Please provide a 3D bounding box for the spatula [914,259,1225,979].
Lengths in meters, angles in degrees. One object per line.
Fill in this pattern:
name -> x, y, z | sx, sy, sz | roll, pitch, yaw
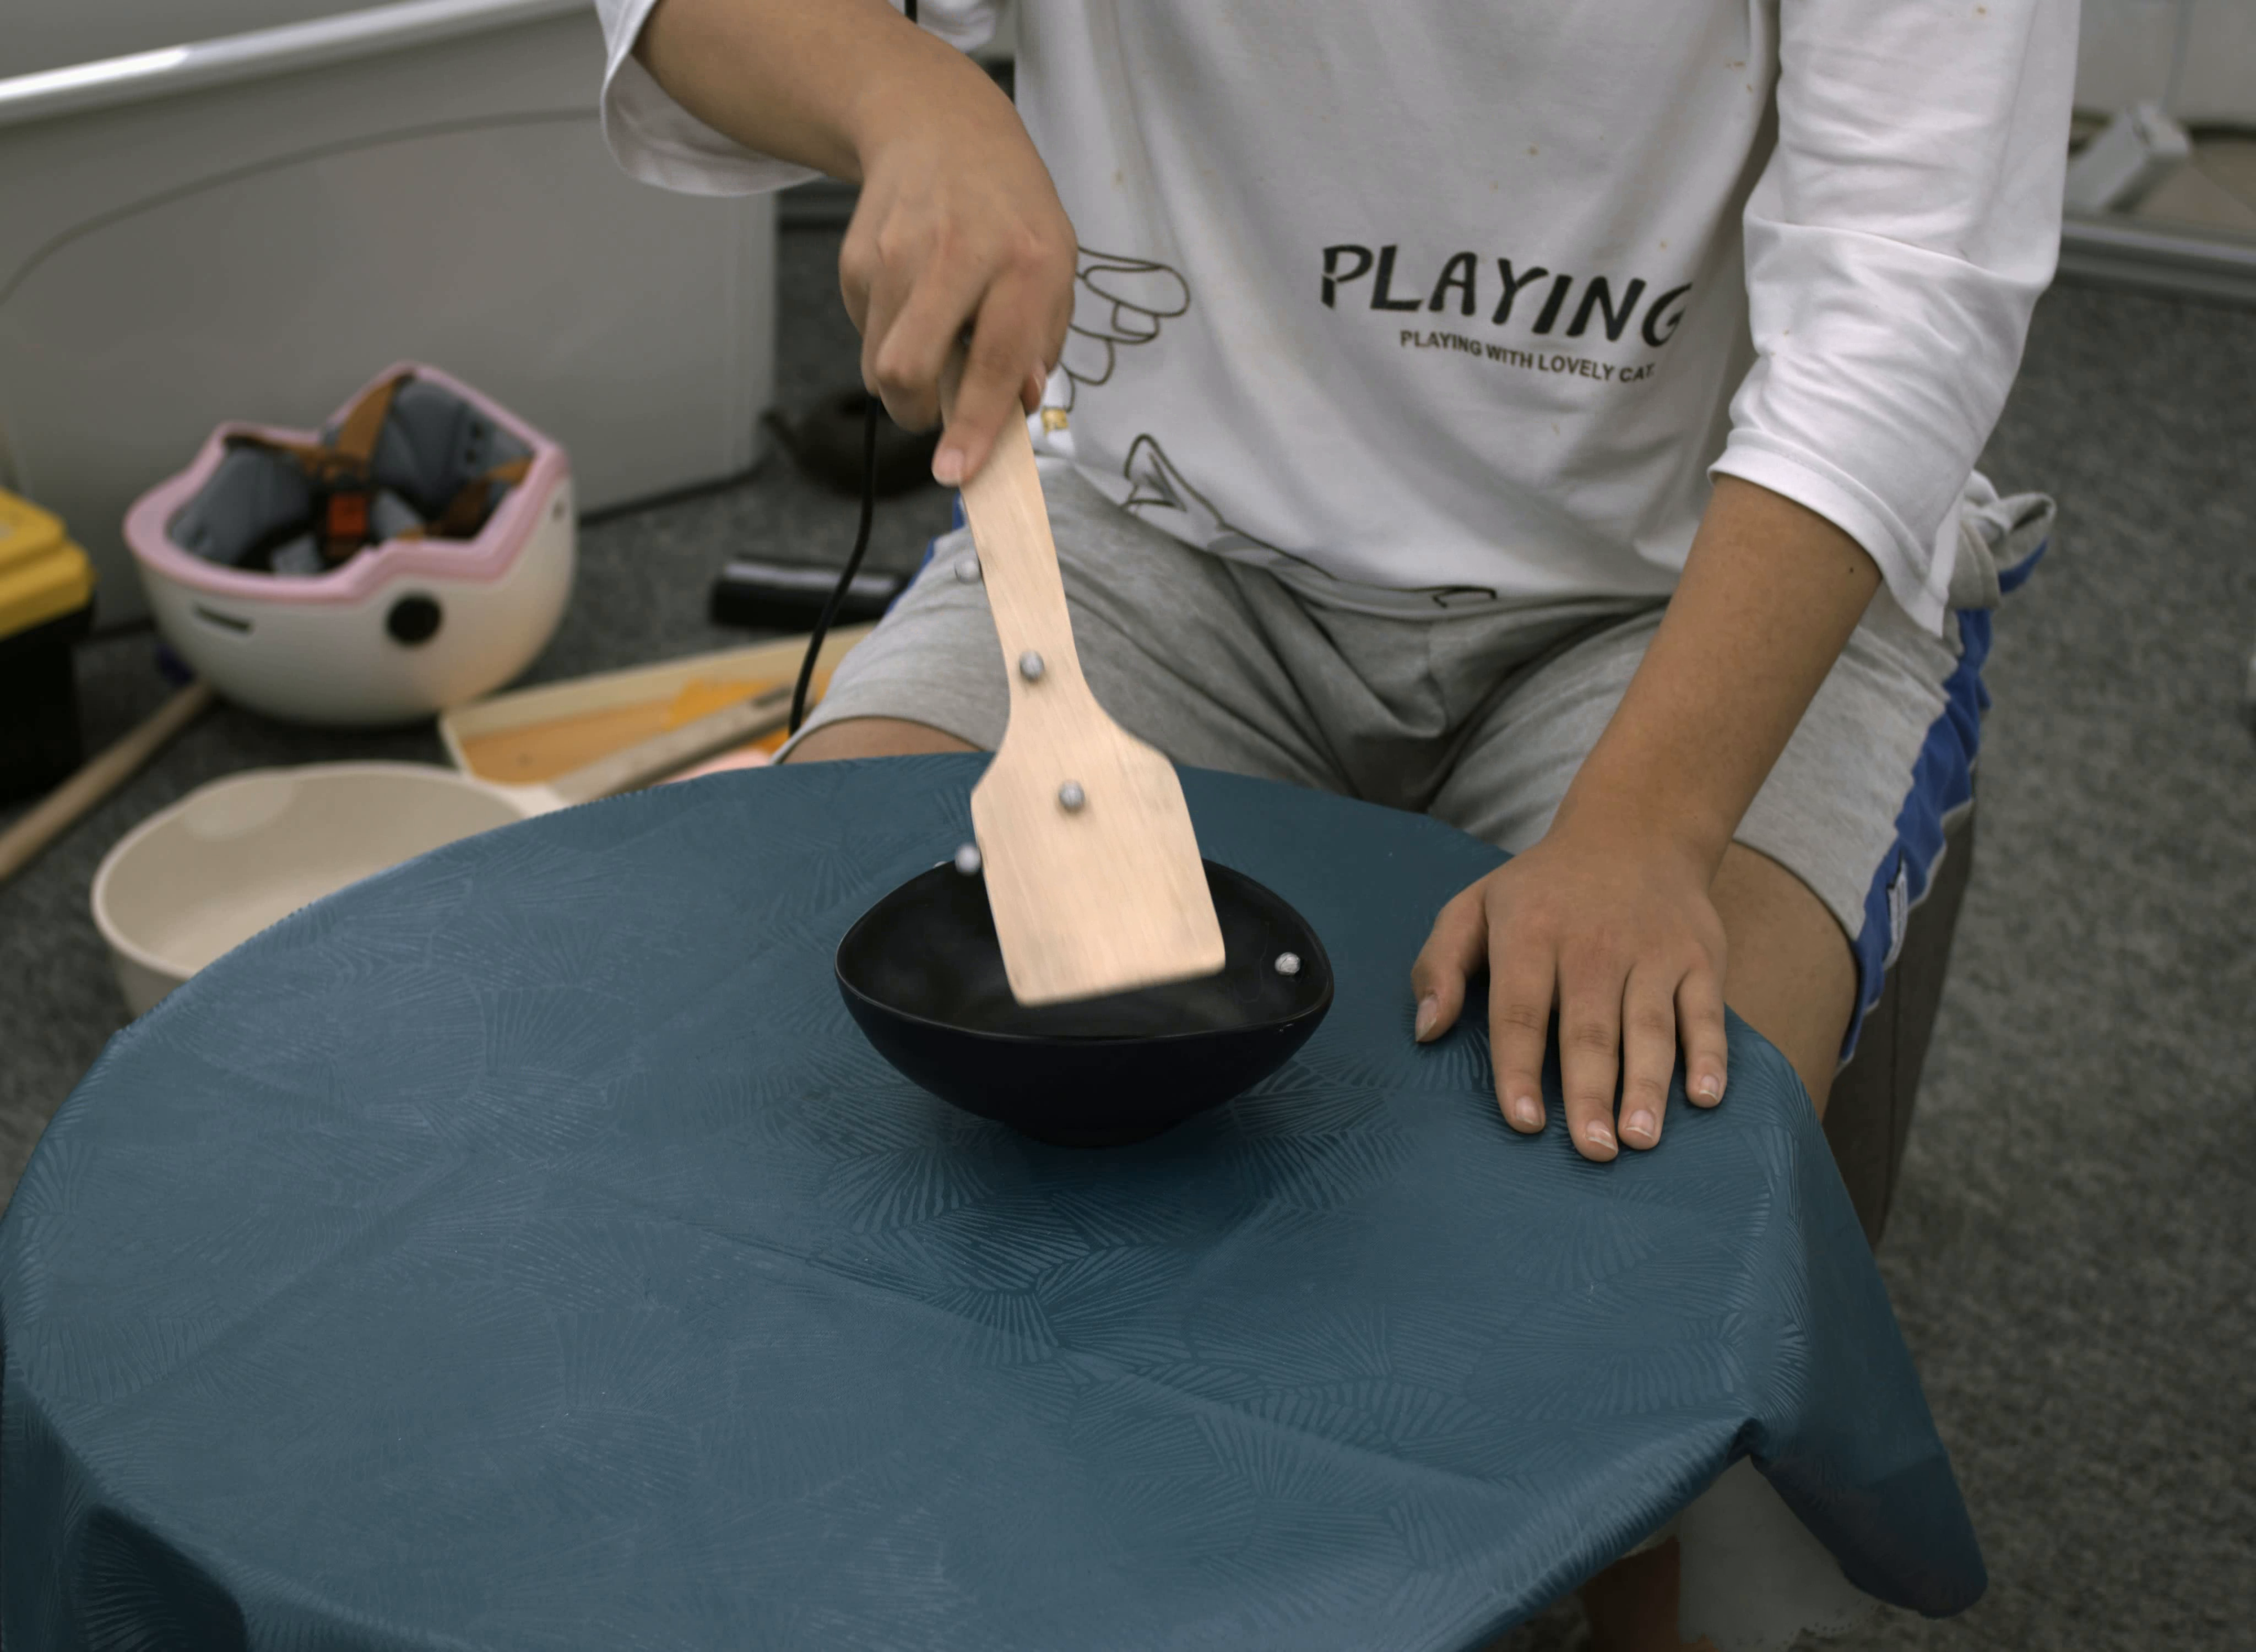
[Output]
spatula -> -0.033, -0.074, 1.875 | 0.072, 0.010, 0.298 | -10, 56, -6

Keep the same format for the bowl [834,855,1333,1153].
bowl -> -0.014, 0.066, 1.907 | 0.169, 0.066, 0.139 | 3, 28, 6
